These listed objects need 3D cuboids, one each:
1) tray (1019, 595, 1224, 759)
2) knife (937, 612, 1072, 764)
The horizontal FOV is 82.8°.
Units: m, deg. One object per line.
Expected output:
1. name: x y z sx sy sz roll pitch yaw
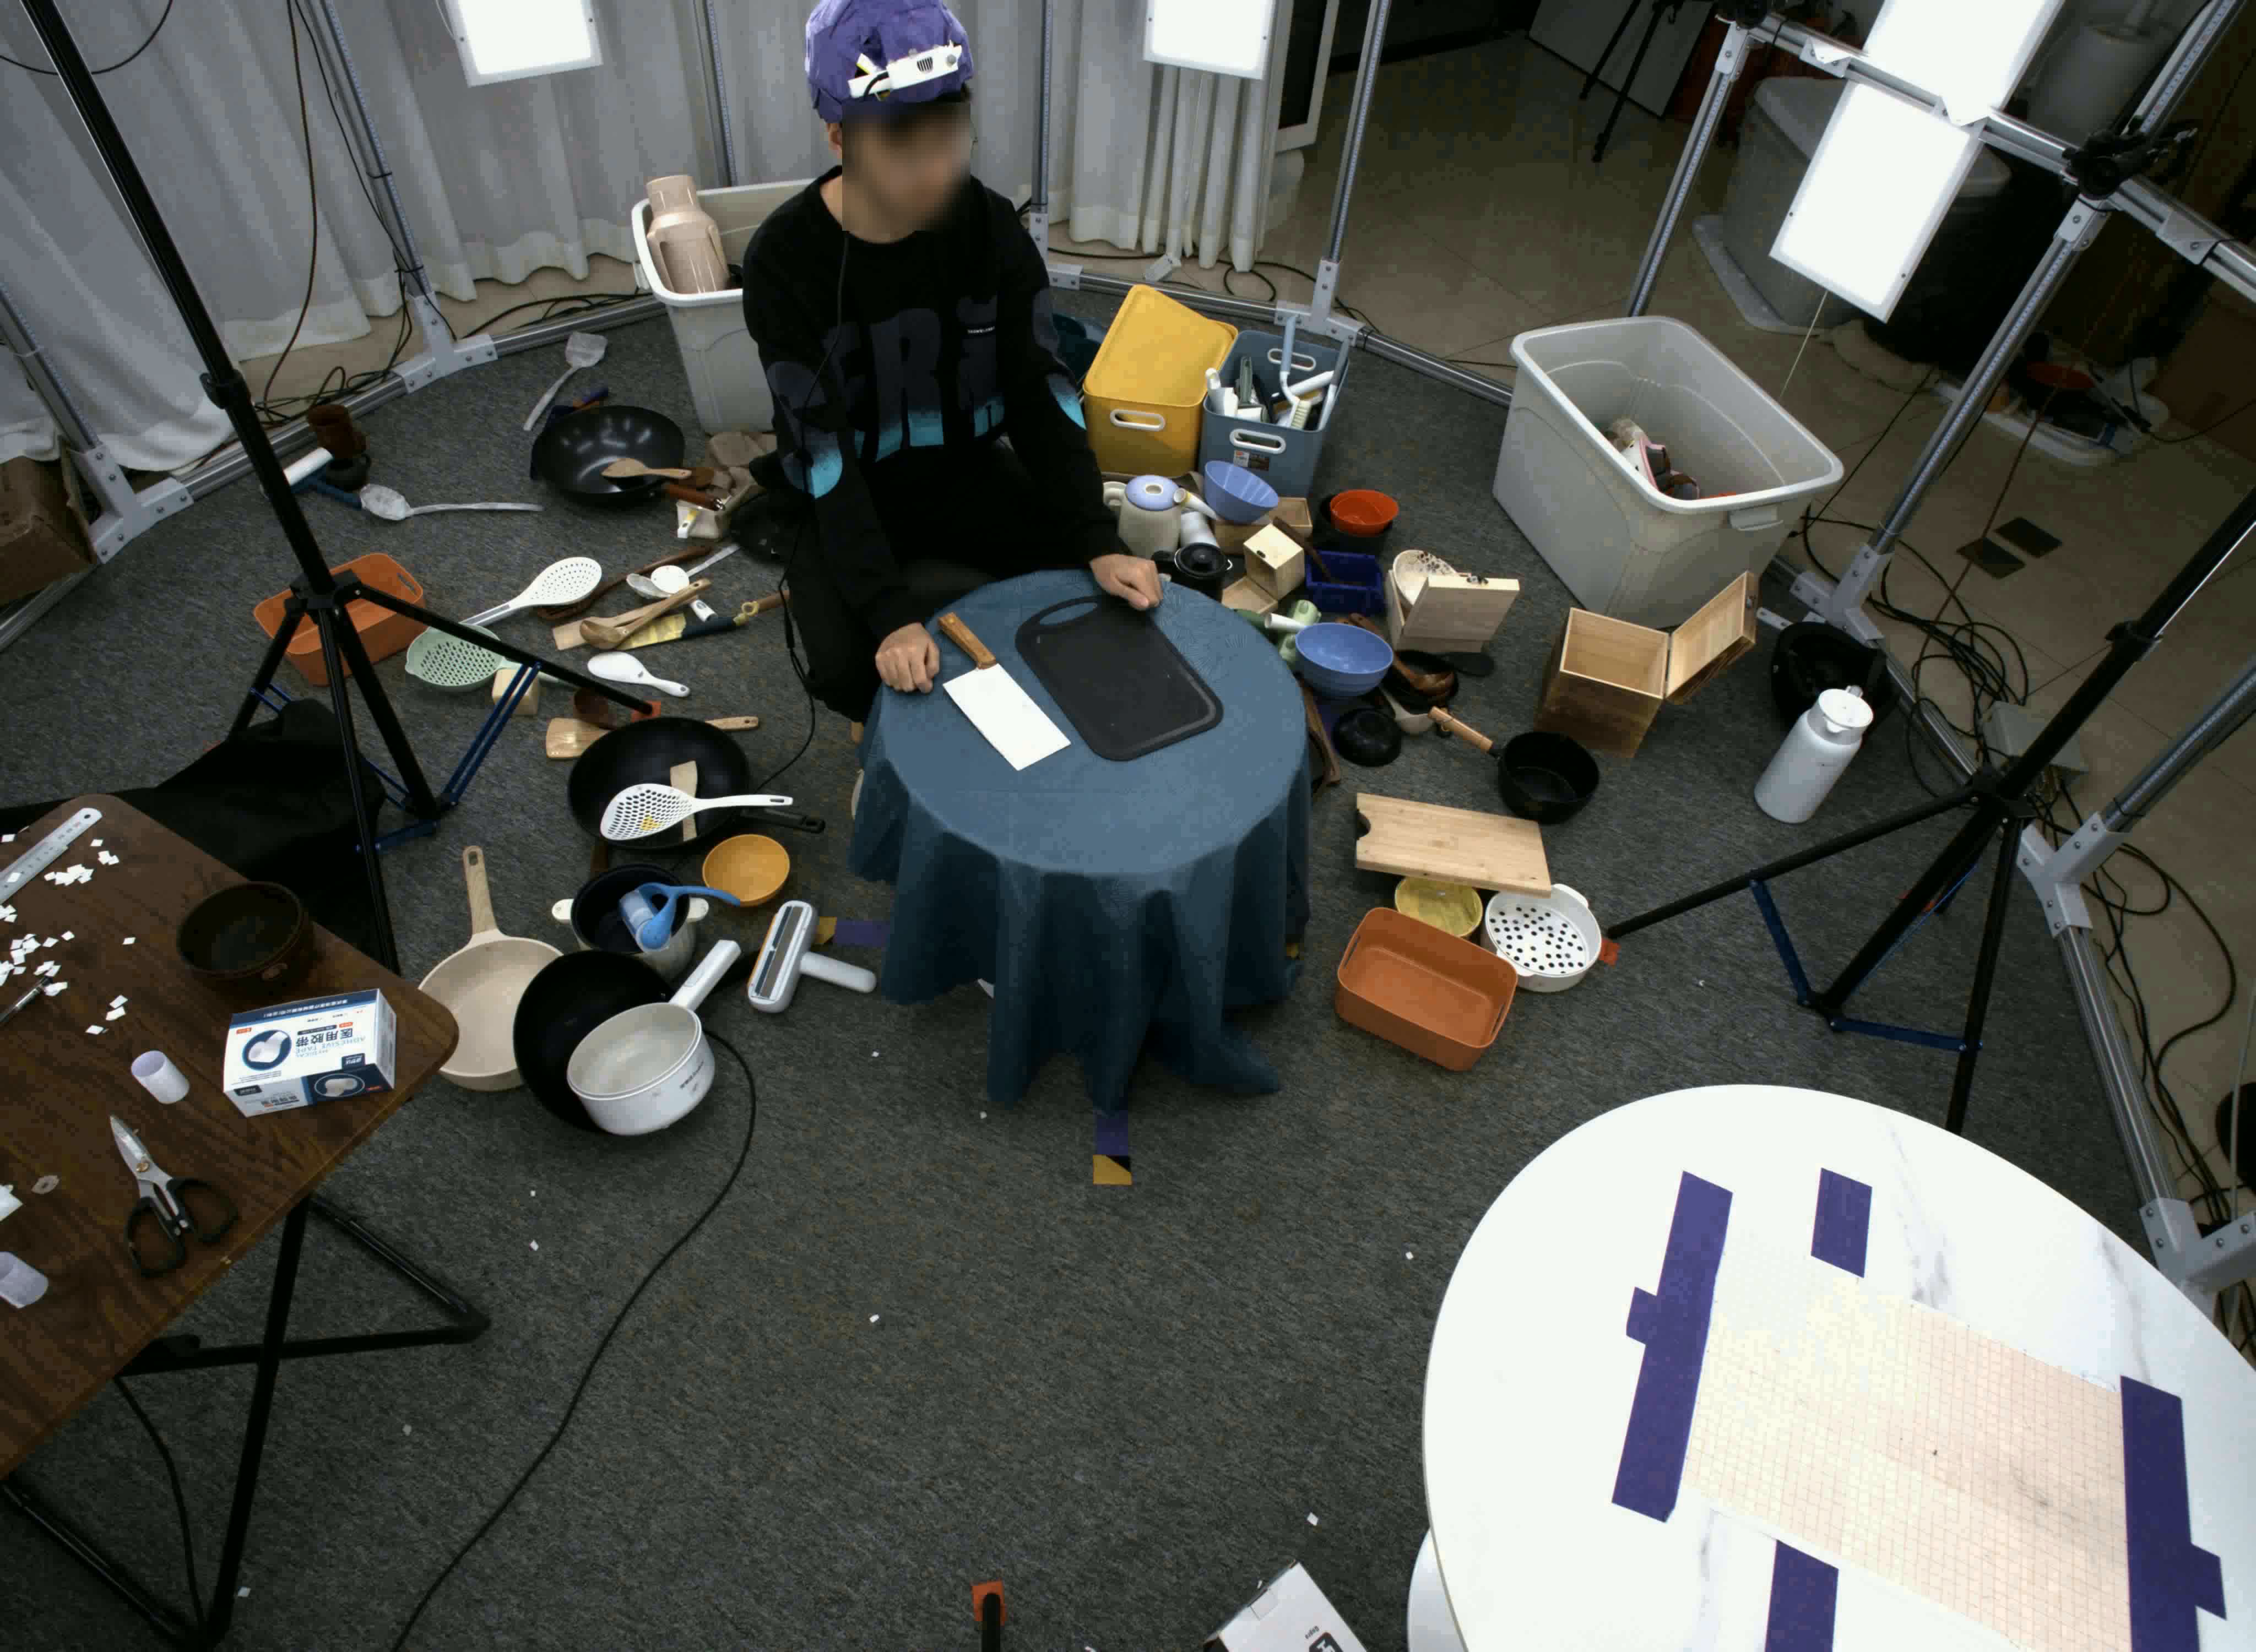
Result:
1. tray: -0.017 -0.227 1.860 0.211 0.009 0.332 -21 54 -21
2. knife: -0.198 -0.195 1.815 0.093 0.020 0.311 -28 59 -24
